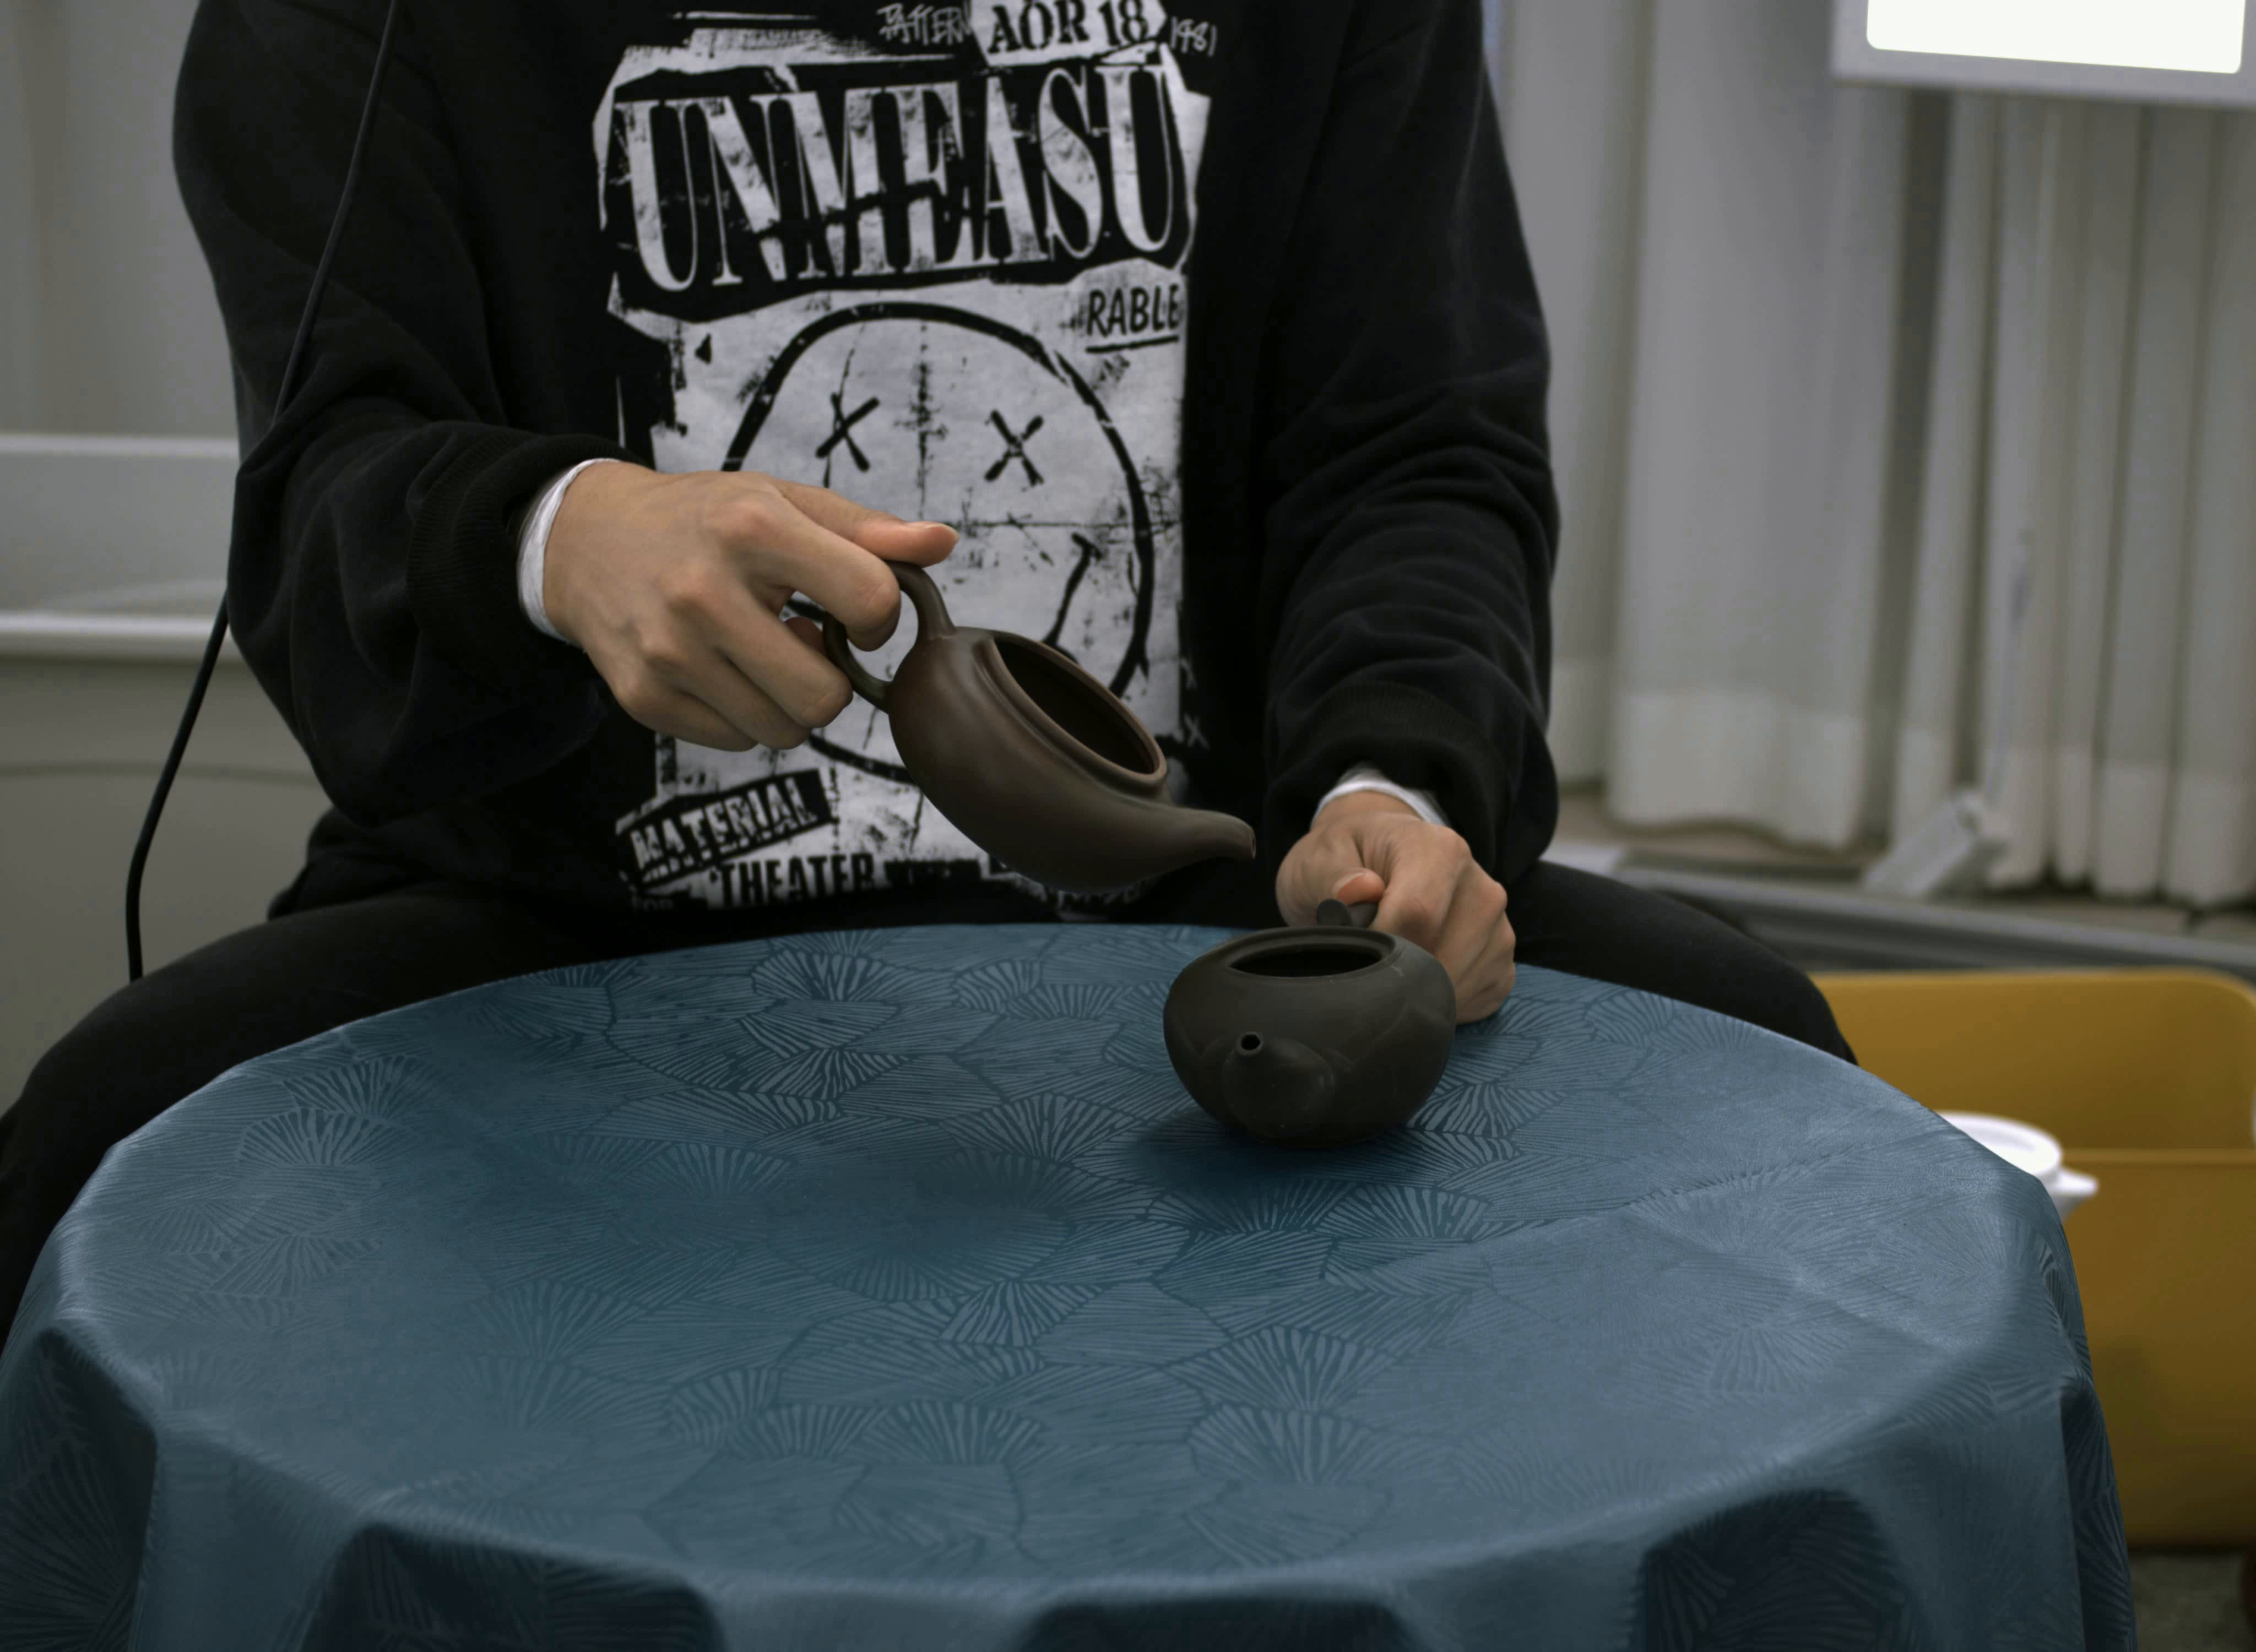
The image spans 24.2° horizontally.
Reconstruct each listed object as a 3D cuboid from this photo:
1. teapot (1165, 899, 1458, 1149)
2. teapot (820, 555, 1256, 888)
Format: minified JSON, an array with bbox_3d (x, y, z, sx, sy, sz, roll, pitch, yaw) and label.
[{"bbox_3d":[0.059,0.064,1.675,0.091,0.065,0.154,5,18,17],"label":"teapot"},{"bbox_3d":[-0.032,-0.027,1.641,0.154,0.054,0.102,39,14,-9],"label":"teapot"}]
